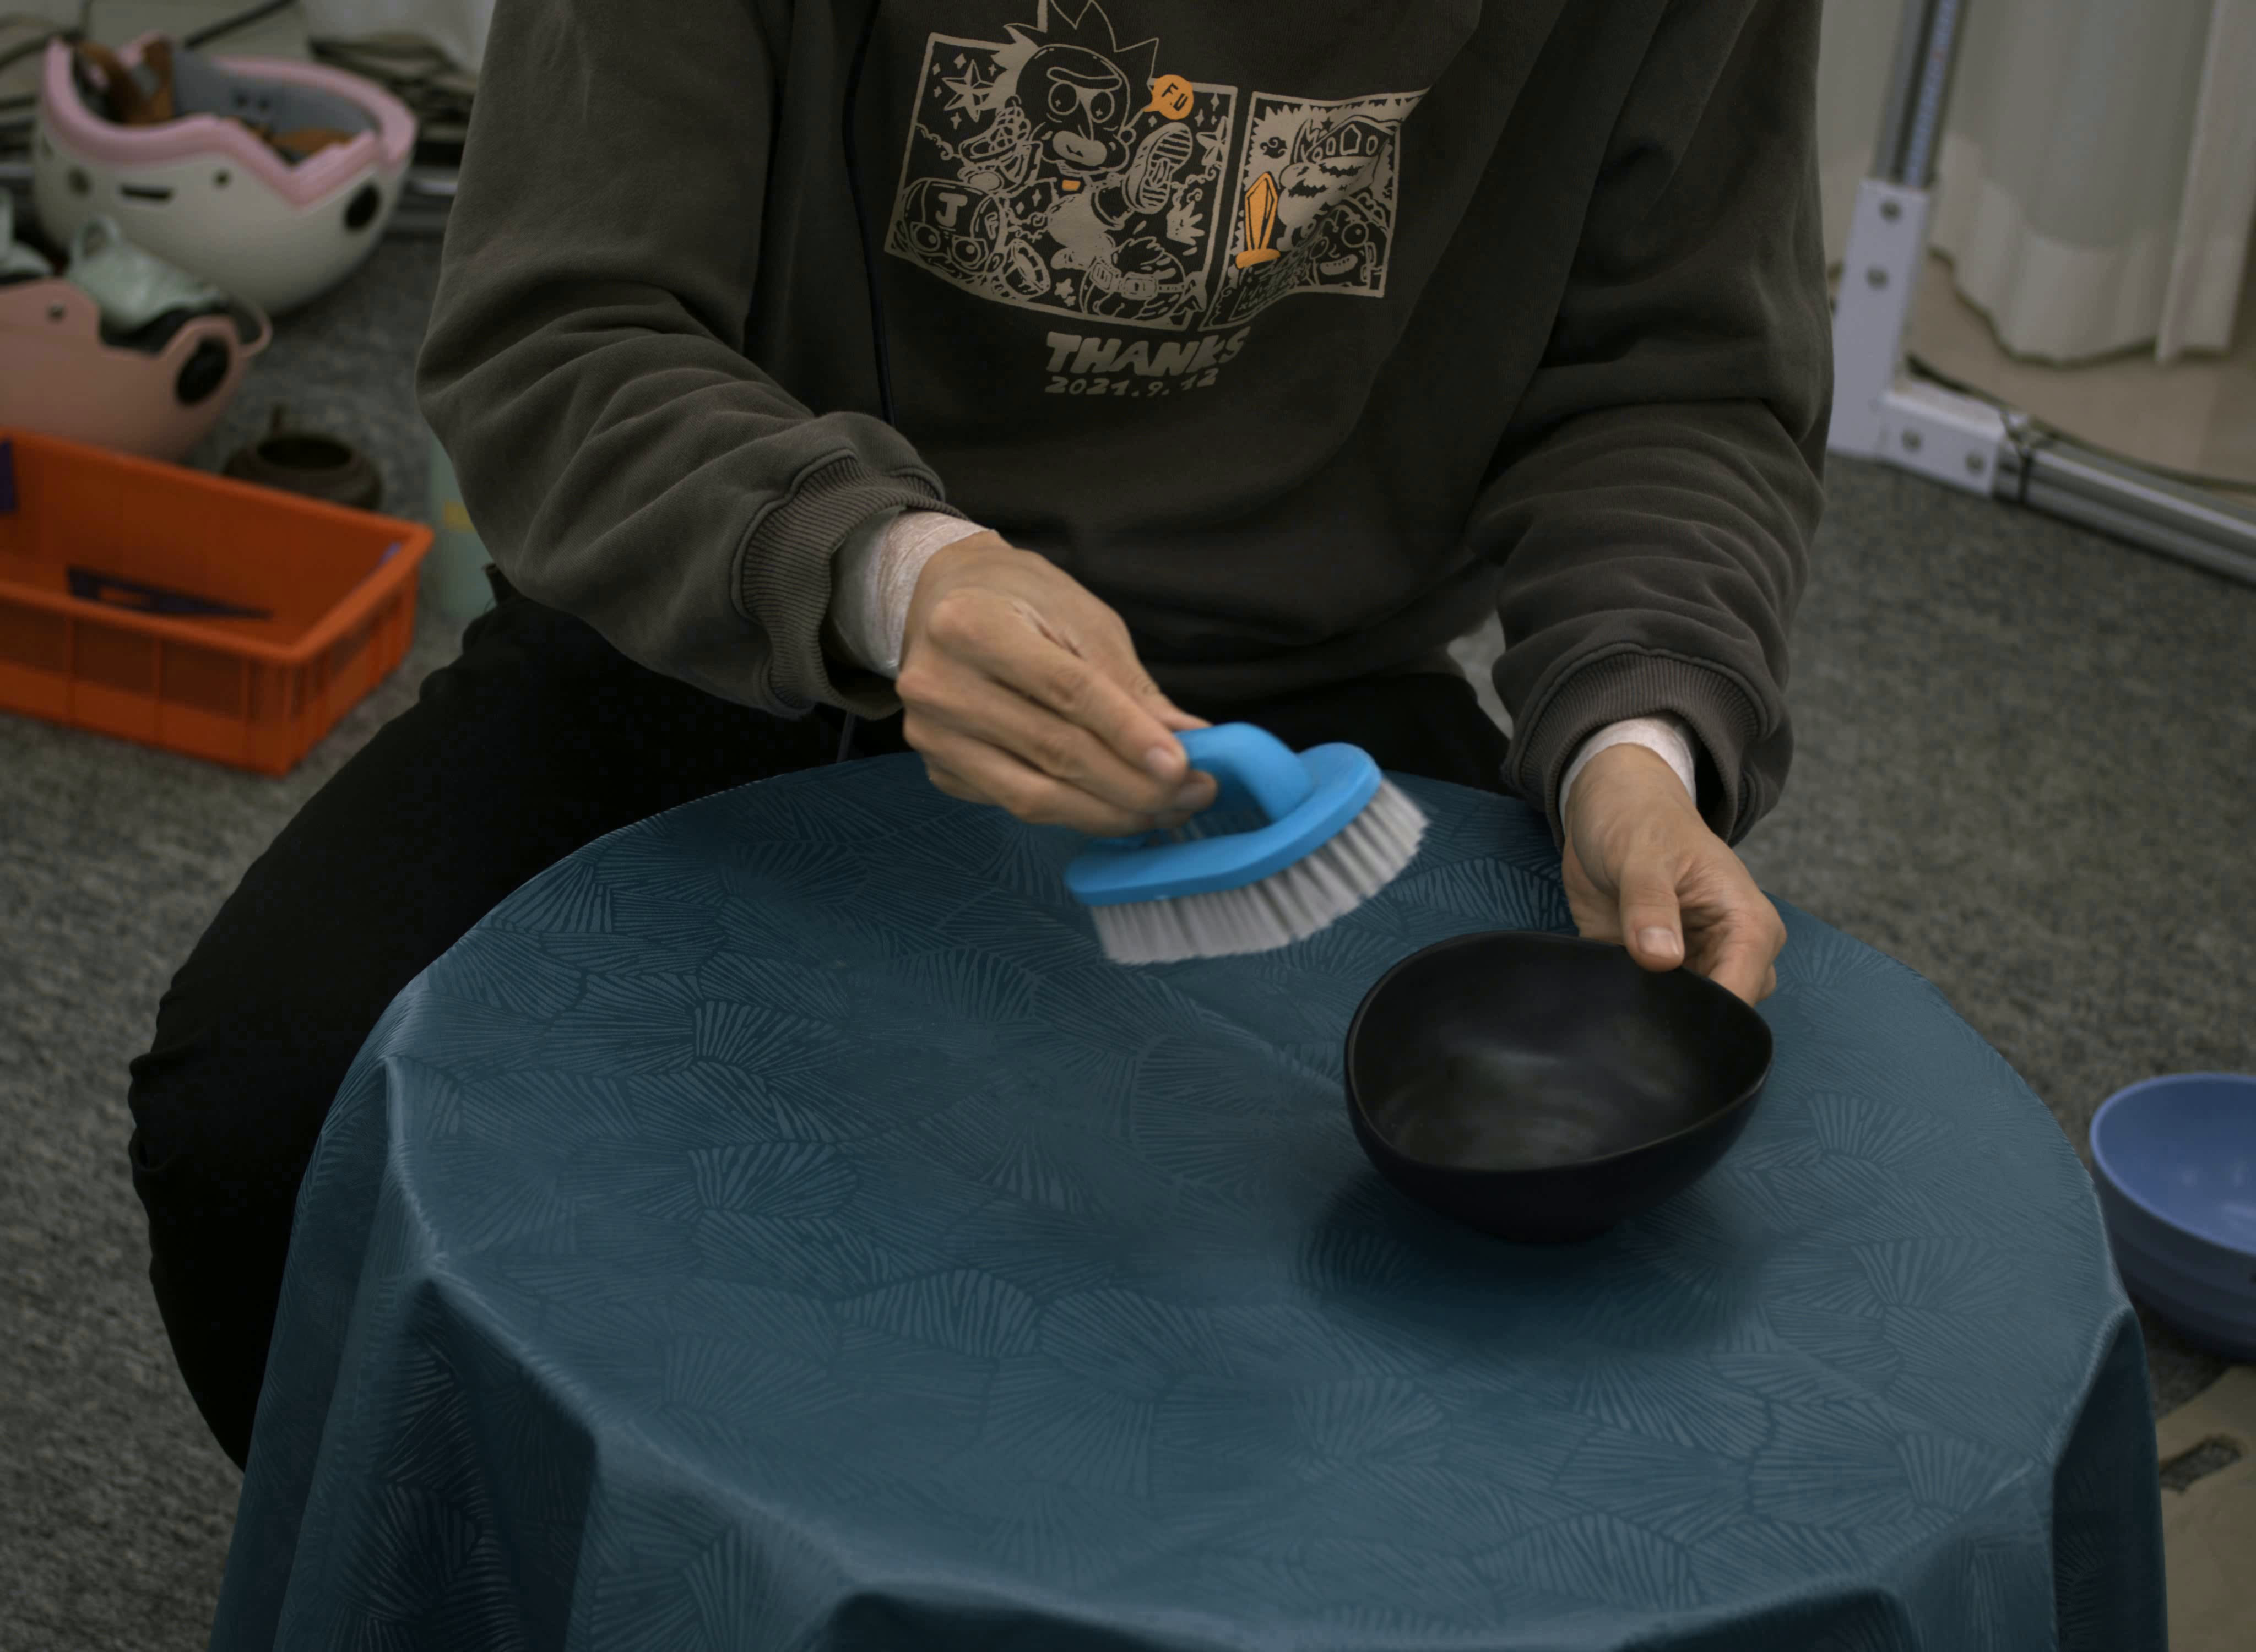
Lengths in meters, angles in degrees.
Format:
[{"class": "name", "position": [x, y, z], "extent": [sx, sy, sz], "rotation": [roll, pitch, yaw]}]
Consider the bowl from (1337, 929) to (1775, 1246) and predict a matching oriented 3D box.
[{"class": "bowl", "position": [0.143, 0.099, 1.815], "extent": [0.138, 0.066, 0.170], "rotation": [23, 32, 31]}]

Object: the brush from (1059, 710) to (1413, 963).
[{"class": "brush", "position": [0.026, -0.005, 1.752], "extent": [0.084, 0.063, 0.142], "rotation": [-45, 20, -29]}]
